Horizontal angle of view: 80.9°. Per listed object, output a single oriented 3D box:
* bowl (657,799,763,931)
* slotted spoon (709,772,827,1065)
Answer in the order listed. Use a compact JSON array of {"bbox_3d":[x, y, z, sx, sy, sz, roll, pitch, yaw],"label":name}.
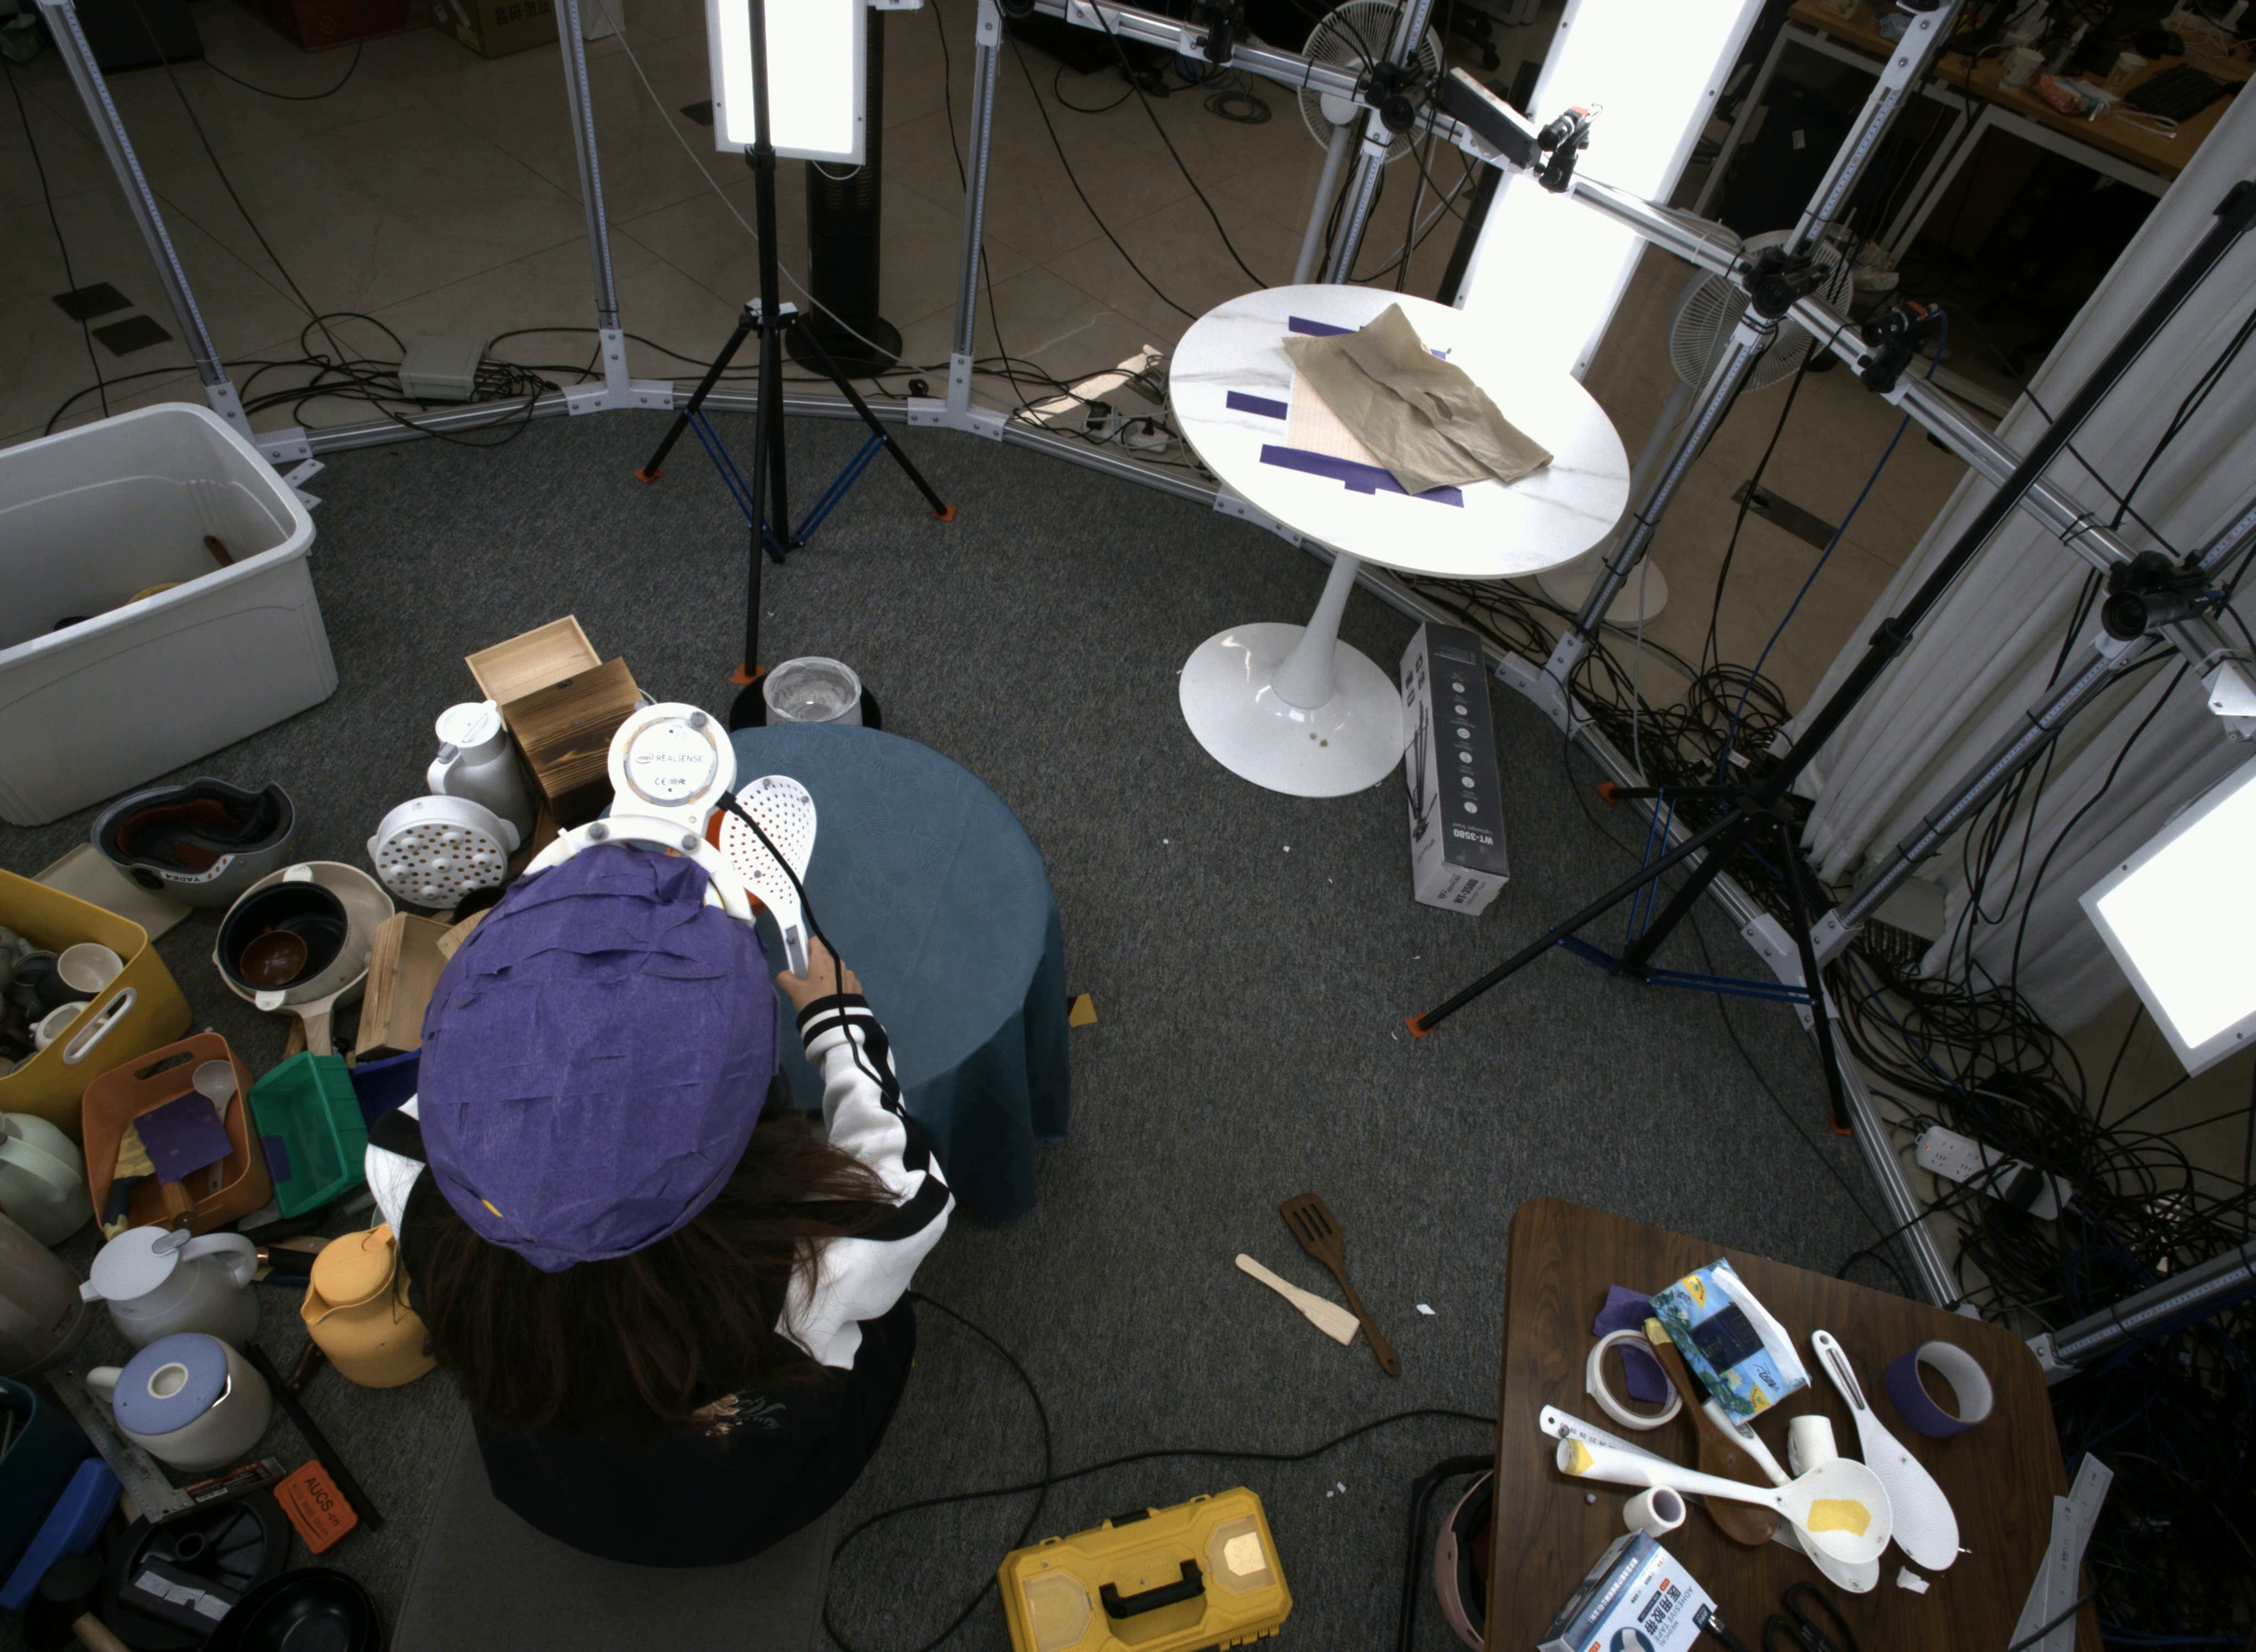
[{"bbox_3d":[-0.494,0.057,1.554,0.149,0.106,0.145,16,44,-14],"label":"bowl"},{"bbox_3d":[-0.398,0.101,1.479,0.134,0.047,0.344,-26,67,17],"label":"slotted spoon"}]
